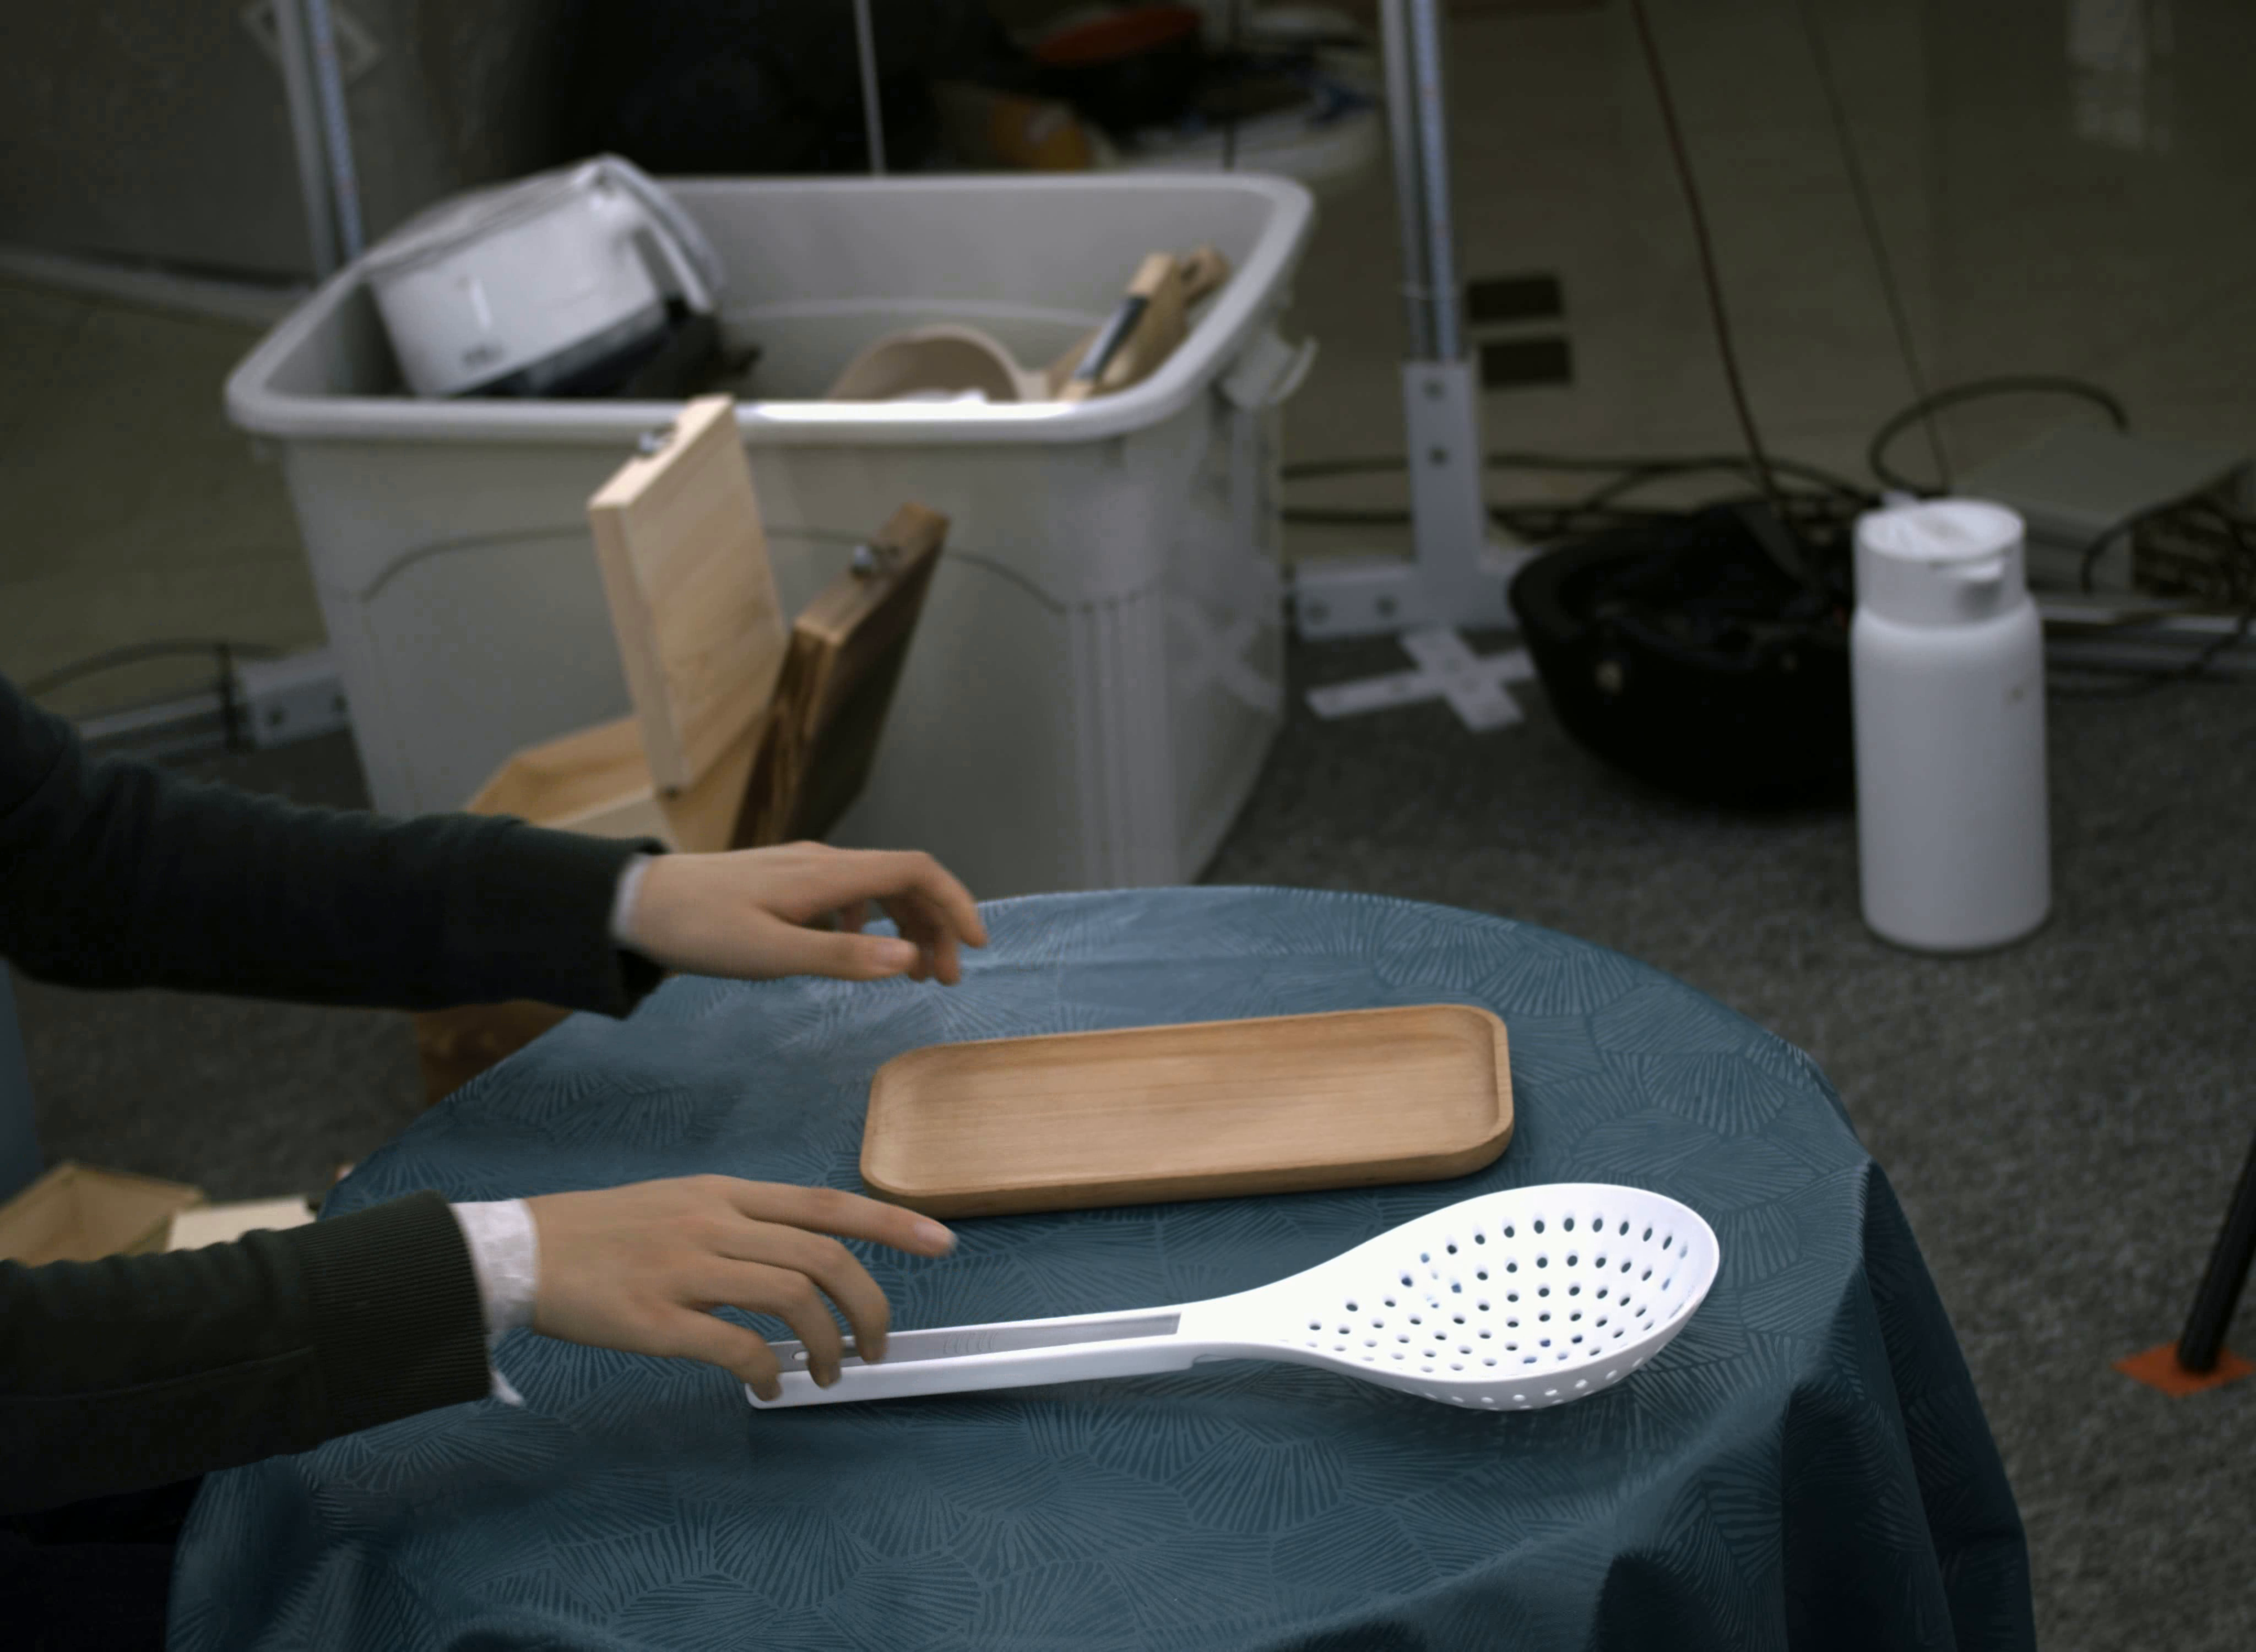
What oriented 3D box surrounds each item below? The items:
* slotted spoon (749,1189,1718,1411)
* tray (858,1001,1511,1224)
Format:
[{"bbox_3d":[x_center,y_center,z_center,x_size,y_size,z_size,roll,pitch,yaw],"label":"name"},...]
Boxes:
[{"bbox_3d":[0.035,0.179,2.005,0.349,0.046,0.134,-3,24,10],"label":"slotted spoon"},{"bbox_3d":[0.022,0.111,2.189,0.250,0.023,0.129,-5,23,5],"label":"tray"}]
